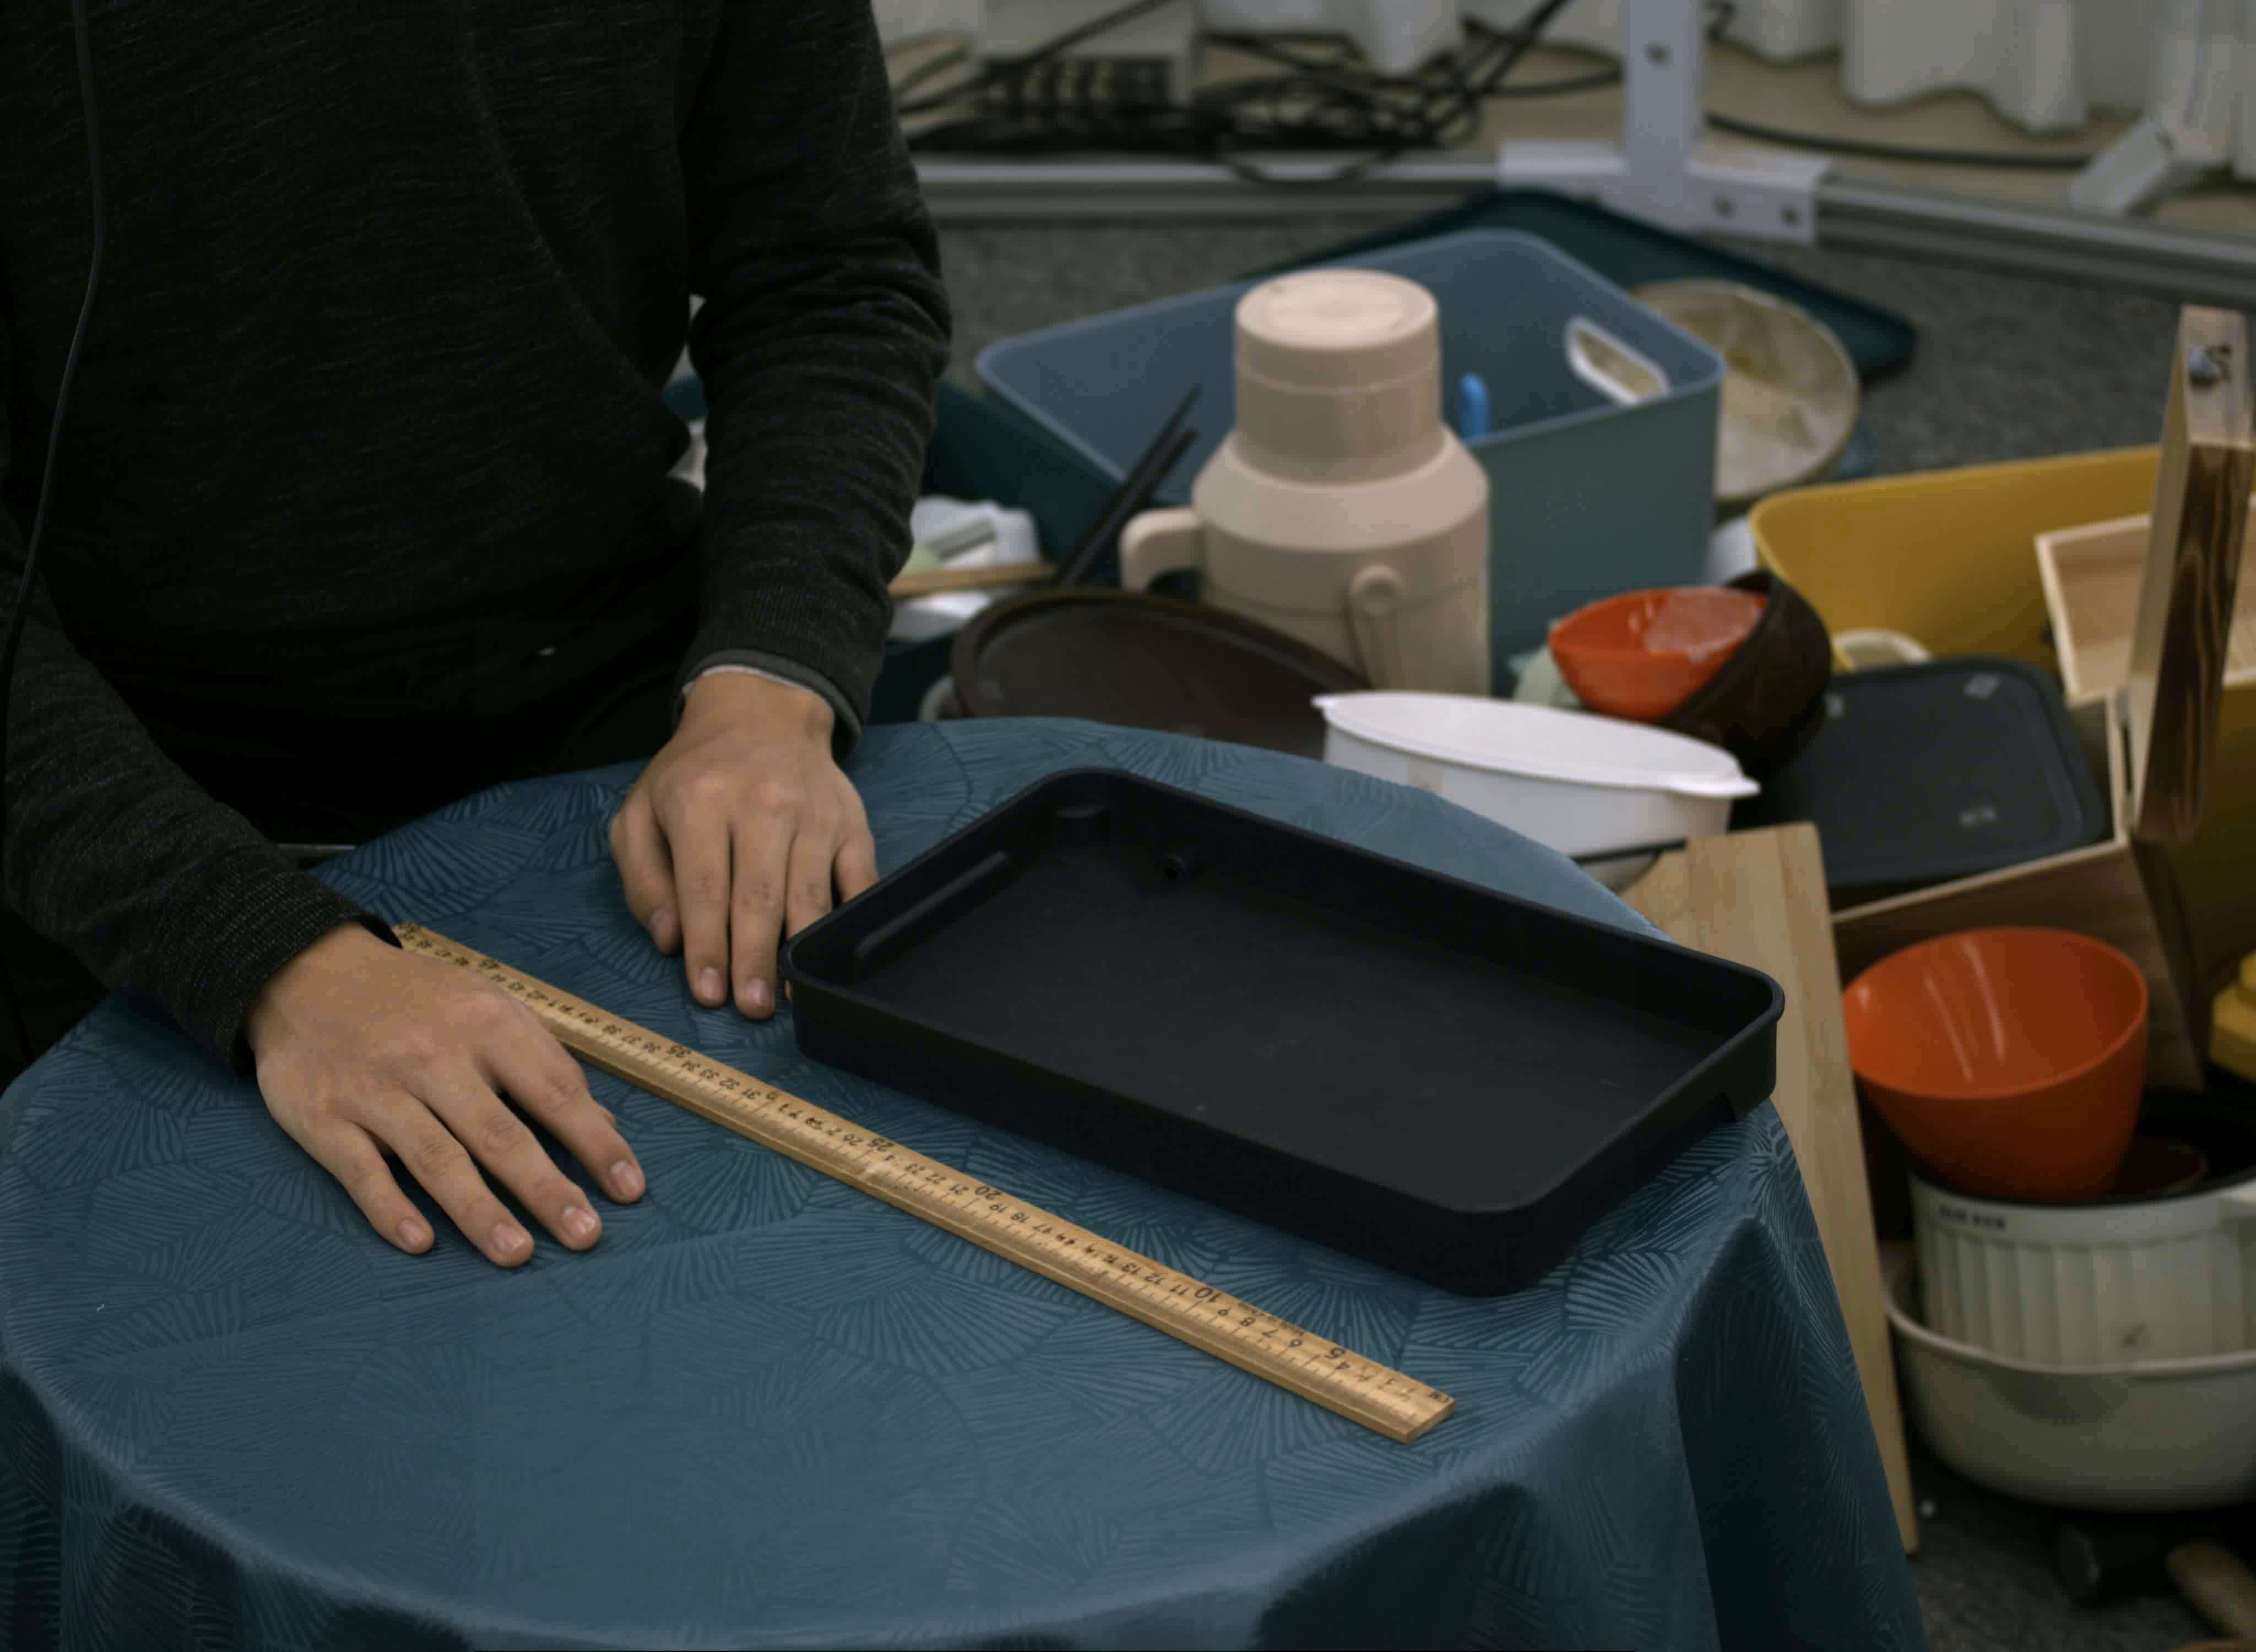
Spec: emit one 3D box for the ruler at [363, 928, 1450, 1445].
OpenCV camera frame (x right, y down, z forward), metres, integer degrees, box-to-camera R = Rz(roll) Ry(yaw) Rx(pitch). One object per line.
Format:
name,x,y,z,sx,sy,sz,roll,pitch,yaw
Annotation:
ruler,-0.088,0.113,1.881,0.499,0.006,0.027,21,34,39

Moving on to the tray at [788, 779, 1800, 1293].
tray,0.055,0.067,1.924,0.316,0.036,0.187,16,32,33
